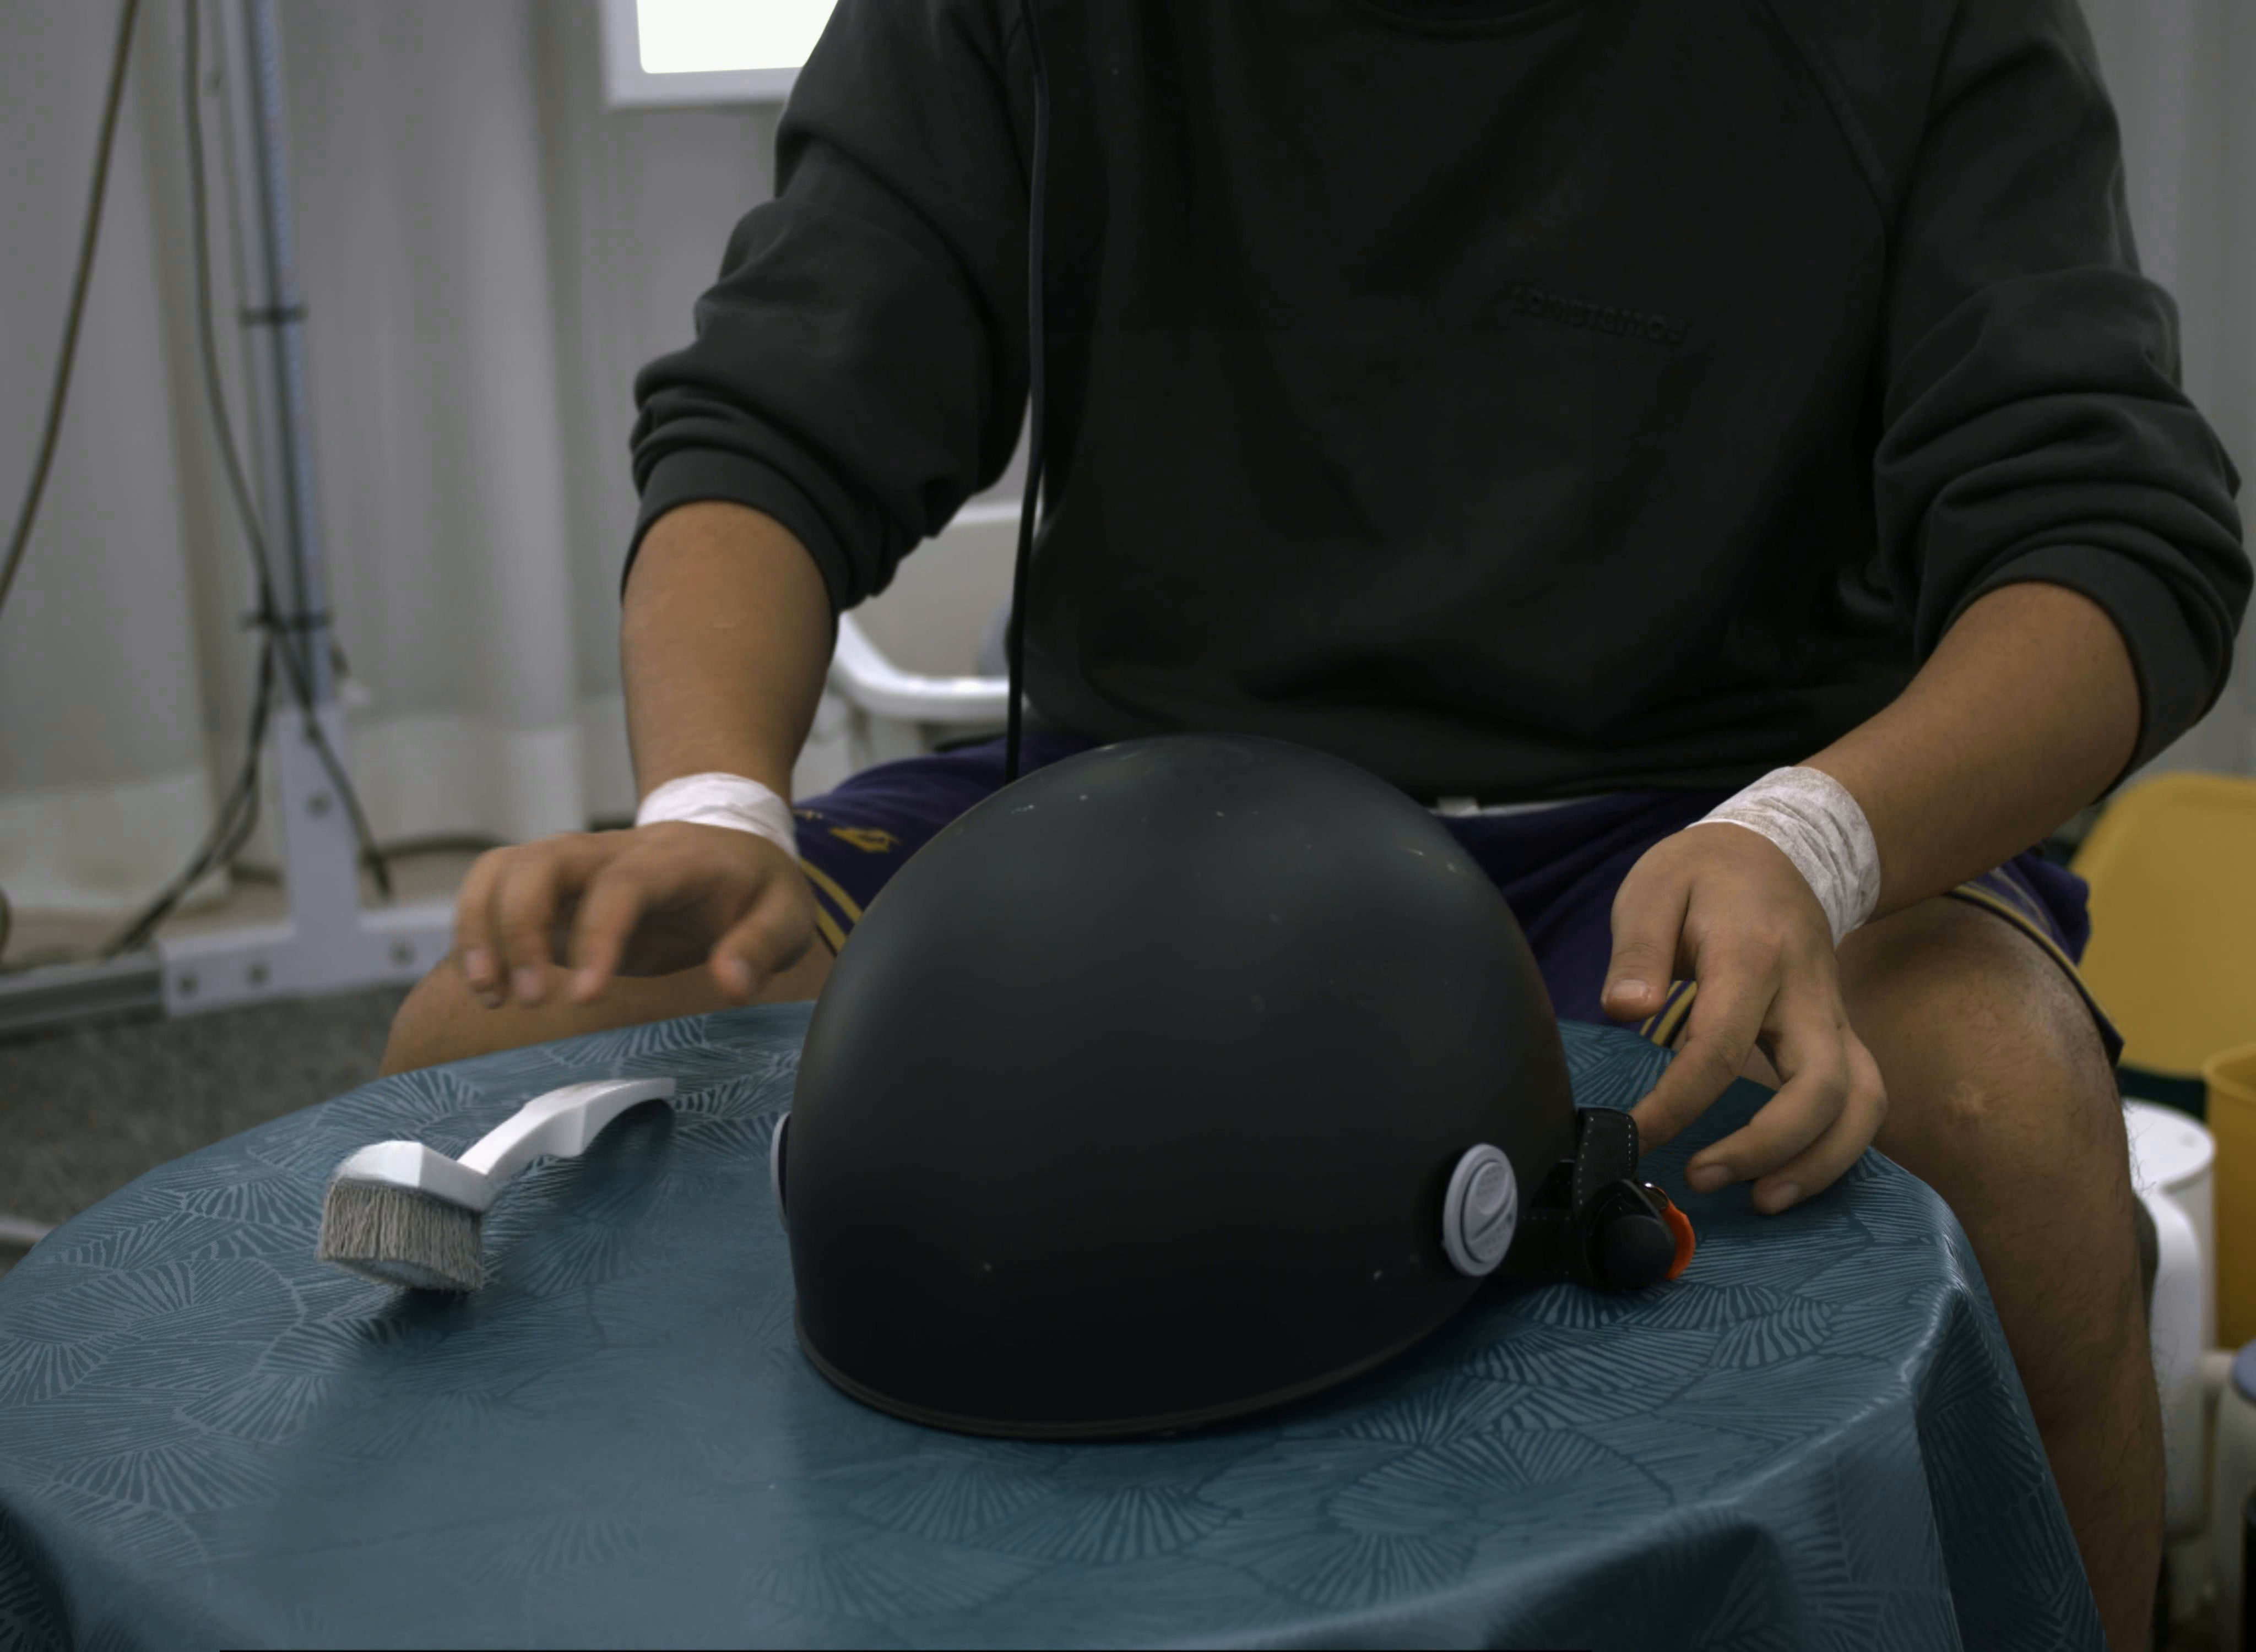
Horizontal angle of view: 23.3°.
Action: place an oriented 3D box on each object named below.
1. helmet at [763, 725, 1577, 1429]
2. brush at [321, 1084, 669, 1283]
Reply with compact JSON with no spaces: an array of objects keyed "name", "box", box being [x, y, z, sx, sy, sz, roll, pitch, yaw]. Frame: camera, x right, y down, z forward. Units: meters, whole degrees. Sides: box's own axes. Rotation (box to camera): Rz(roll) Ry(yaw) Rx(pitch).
[{"name":"helmet","box":[0.009,0.061,1.613,0.230,0.166,0.274,1,17,26]},{"name":"brush","box":[-0.193,0.112,1.720,0.034,0.050,0.243,-3,1,15]}]
